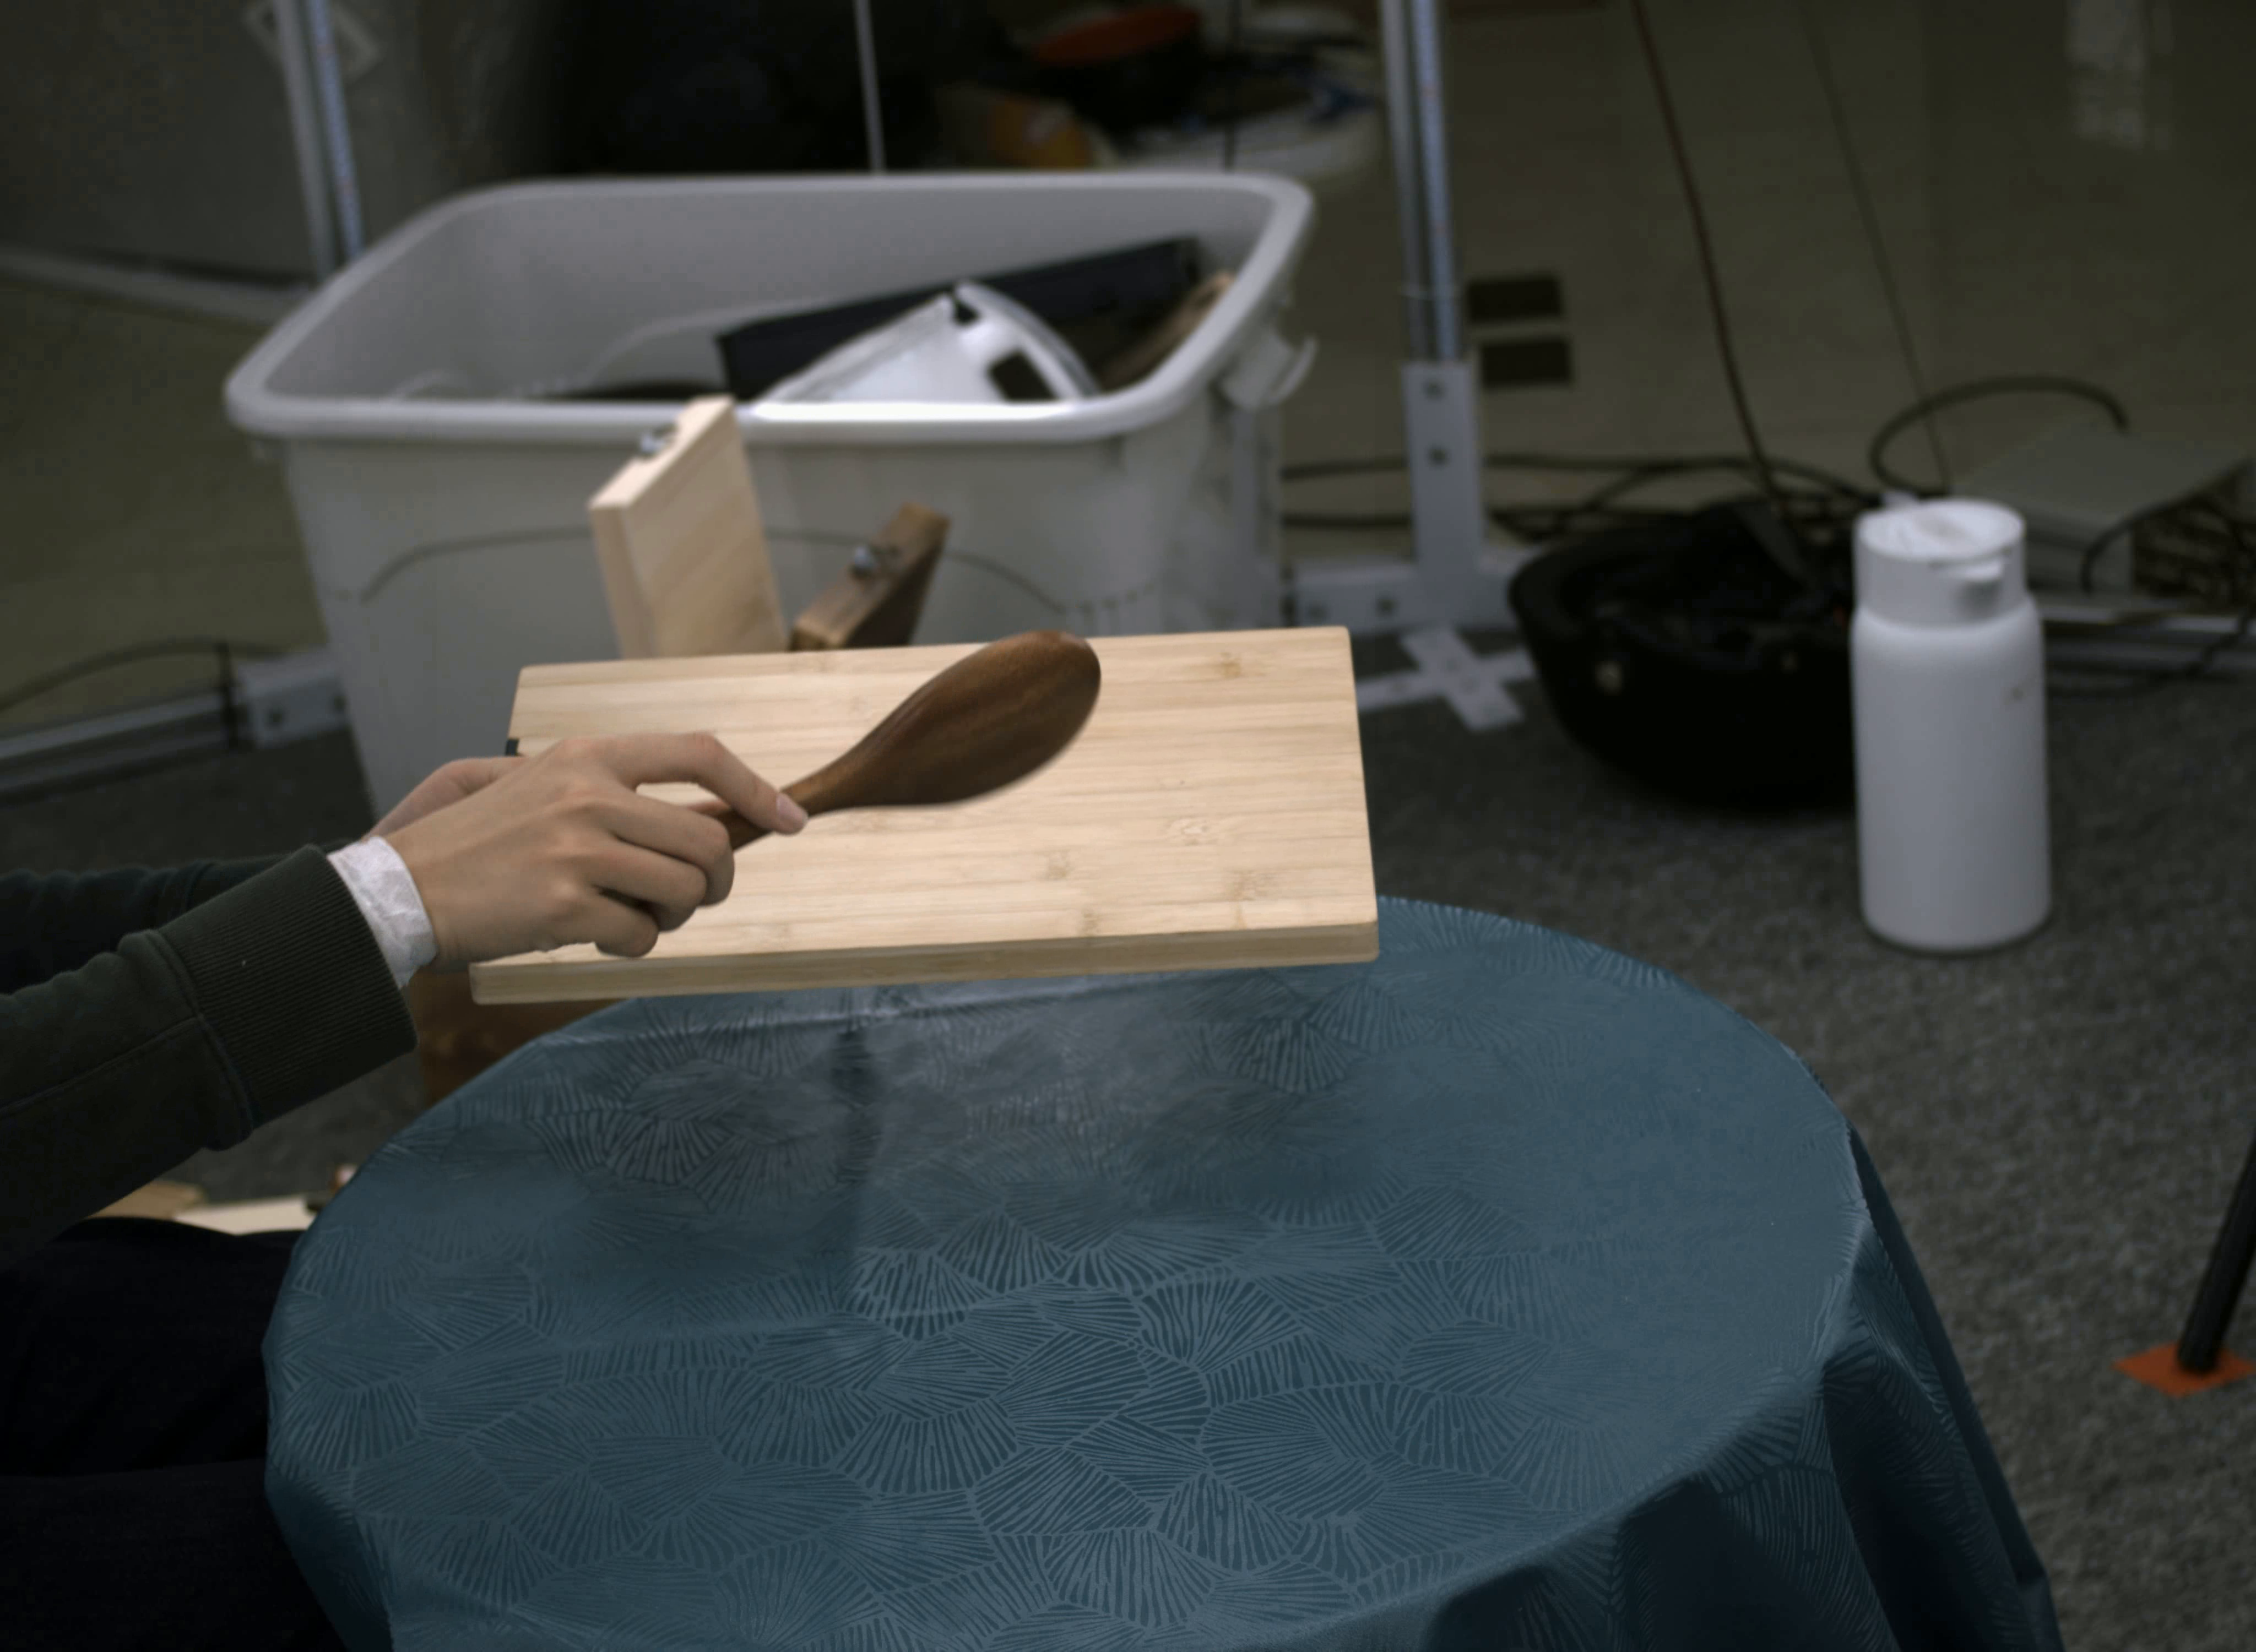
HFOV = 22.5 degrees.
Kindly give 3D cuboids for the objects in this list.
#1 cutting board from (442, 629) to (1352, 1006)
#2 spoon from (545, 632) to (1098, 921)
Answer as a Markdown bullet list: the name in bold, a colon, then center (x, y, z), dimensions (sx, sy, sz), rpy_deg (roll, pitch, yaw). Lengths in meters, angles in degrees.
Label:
- **cutting board**: center (-0.084, -0.006, 2.210), dimensions (0.348, 0.024, 0.246), rpy_deg (-3, 29, 0)
- **spoon**: center (-0.101, -0.014, 1.938), dimensions (0.214, 0.077, 0.017), rpy_deg (-22, 63, -21)
